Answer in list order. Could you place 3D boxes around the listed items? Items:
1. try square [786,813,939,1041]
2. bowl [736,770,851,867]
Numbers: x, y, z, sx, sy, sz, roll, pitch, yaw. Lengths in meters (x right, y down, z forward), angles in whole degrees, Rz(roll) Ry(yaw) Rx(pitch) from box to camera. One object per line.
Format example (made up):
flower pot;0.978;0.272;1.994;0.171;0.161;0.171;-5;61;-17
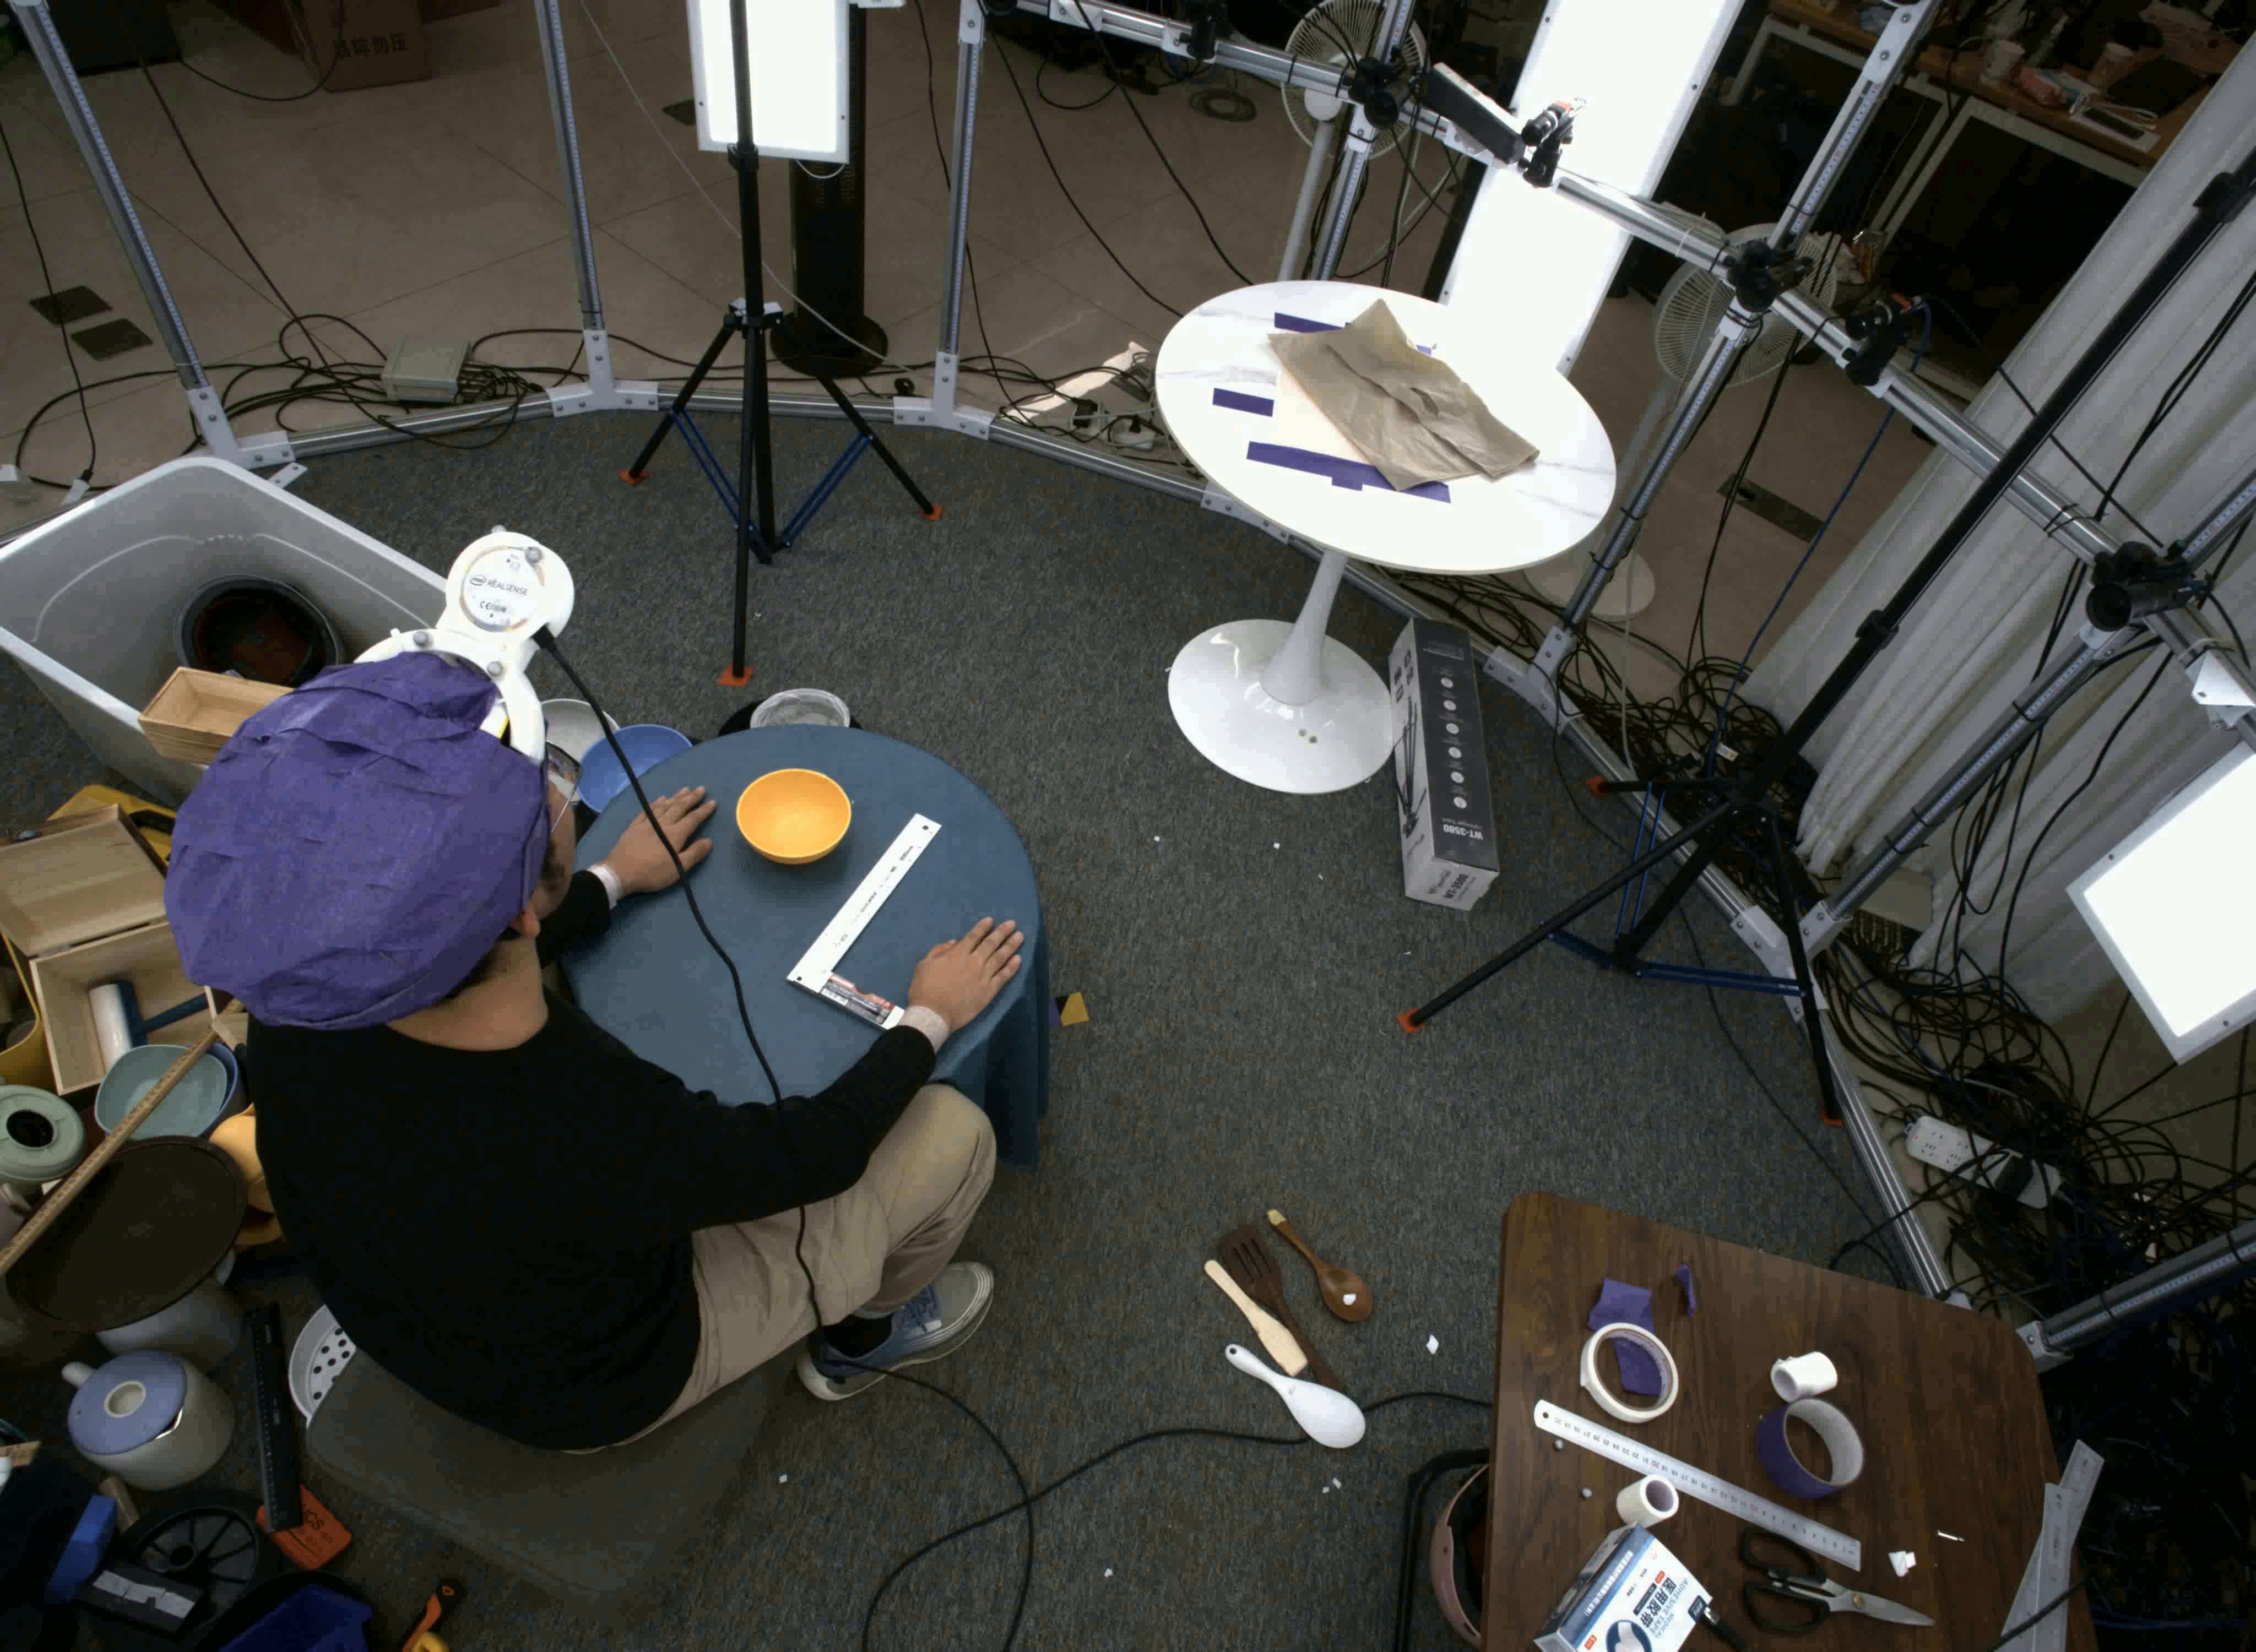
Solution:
try square;-0.288;0.119;1.665;0.151;0.016;0.311;29;51;3
bowl;-0.432;0.000;1.681;0.144;0.061;0.143;6;54;-6
